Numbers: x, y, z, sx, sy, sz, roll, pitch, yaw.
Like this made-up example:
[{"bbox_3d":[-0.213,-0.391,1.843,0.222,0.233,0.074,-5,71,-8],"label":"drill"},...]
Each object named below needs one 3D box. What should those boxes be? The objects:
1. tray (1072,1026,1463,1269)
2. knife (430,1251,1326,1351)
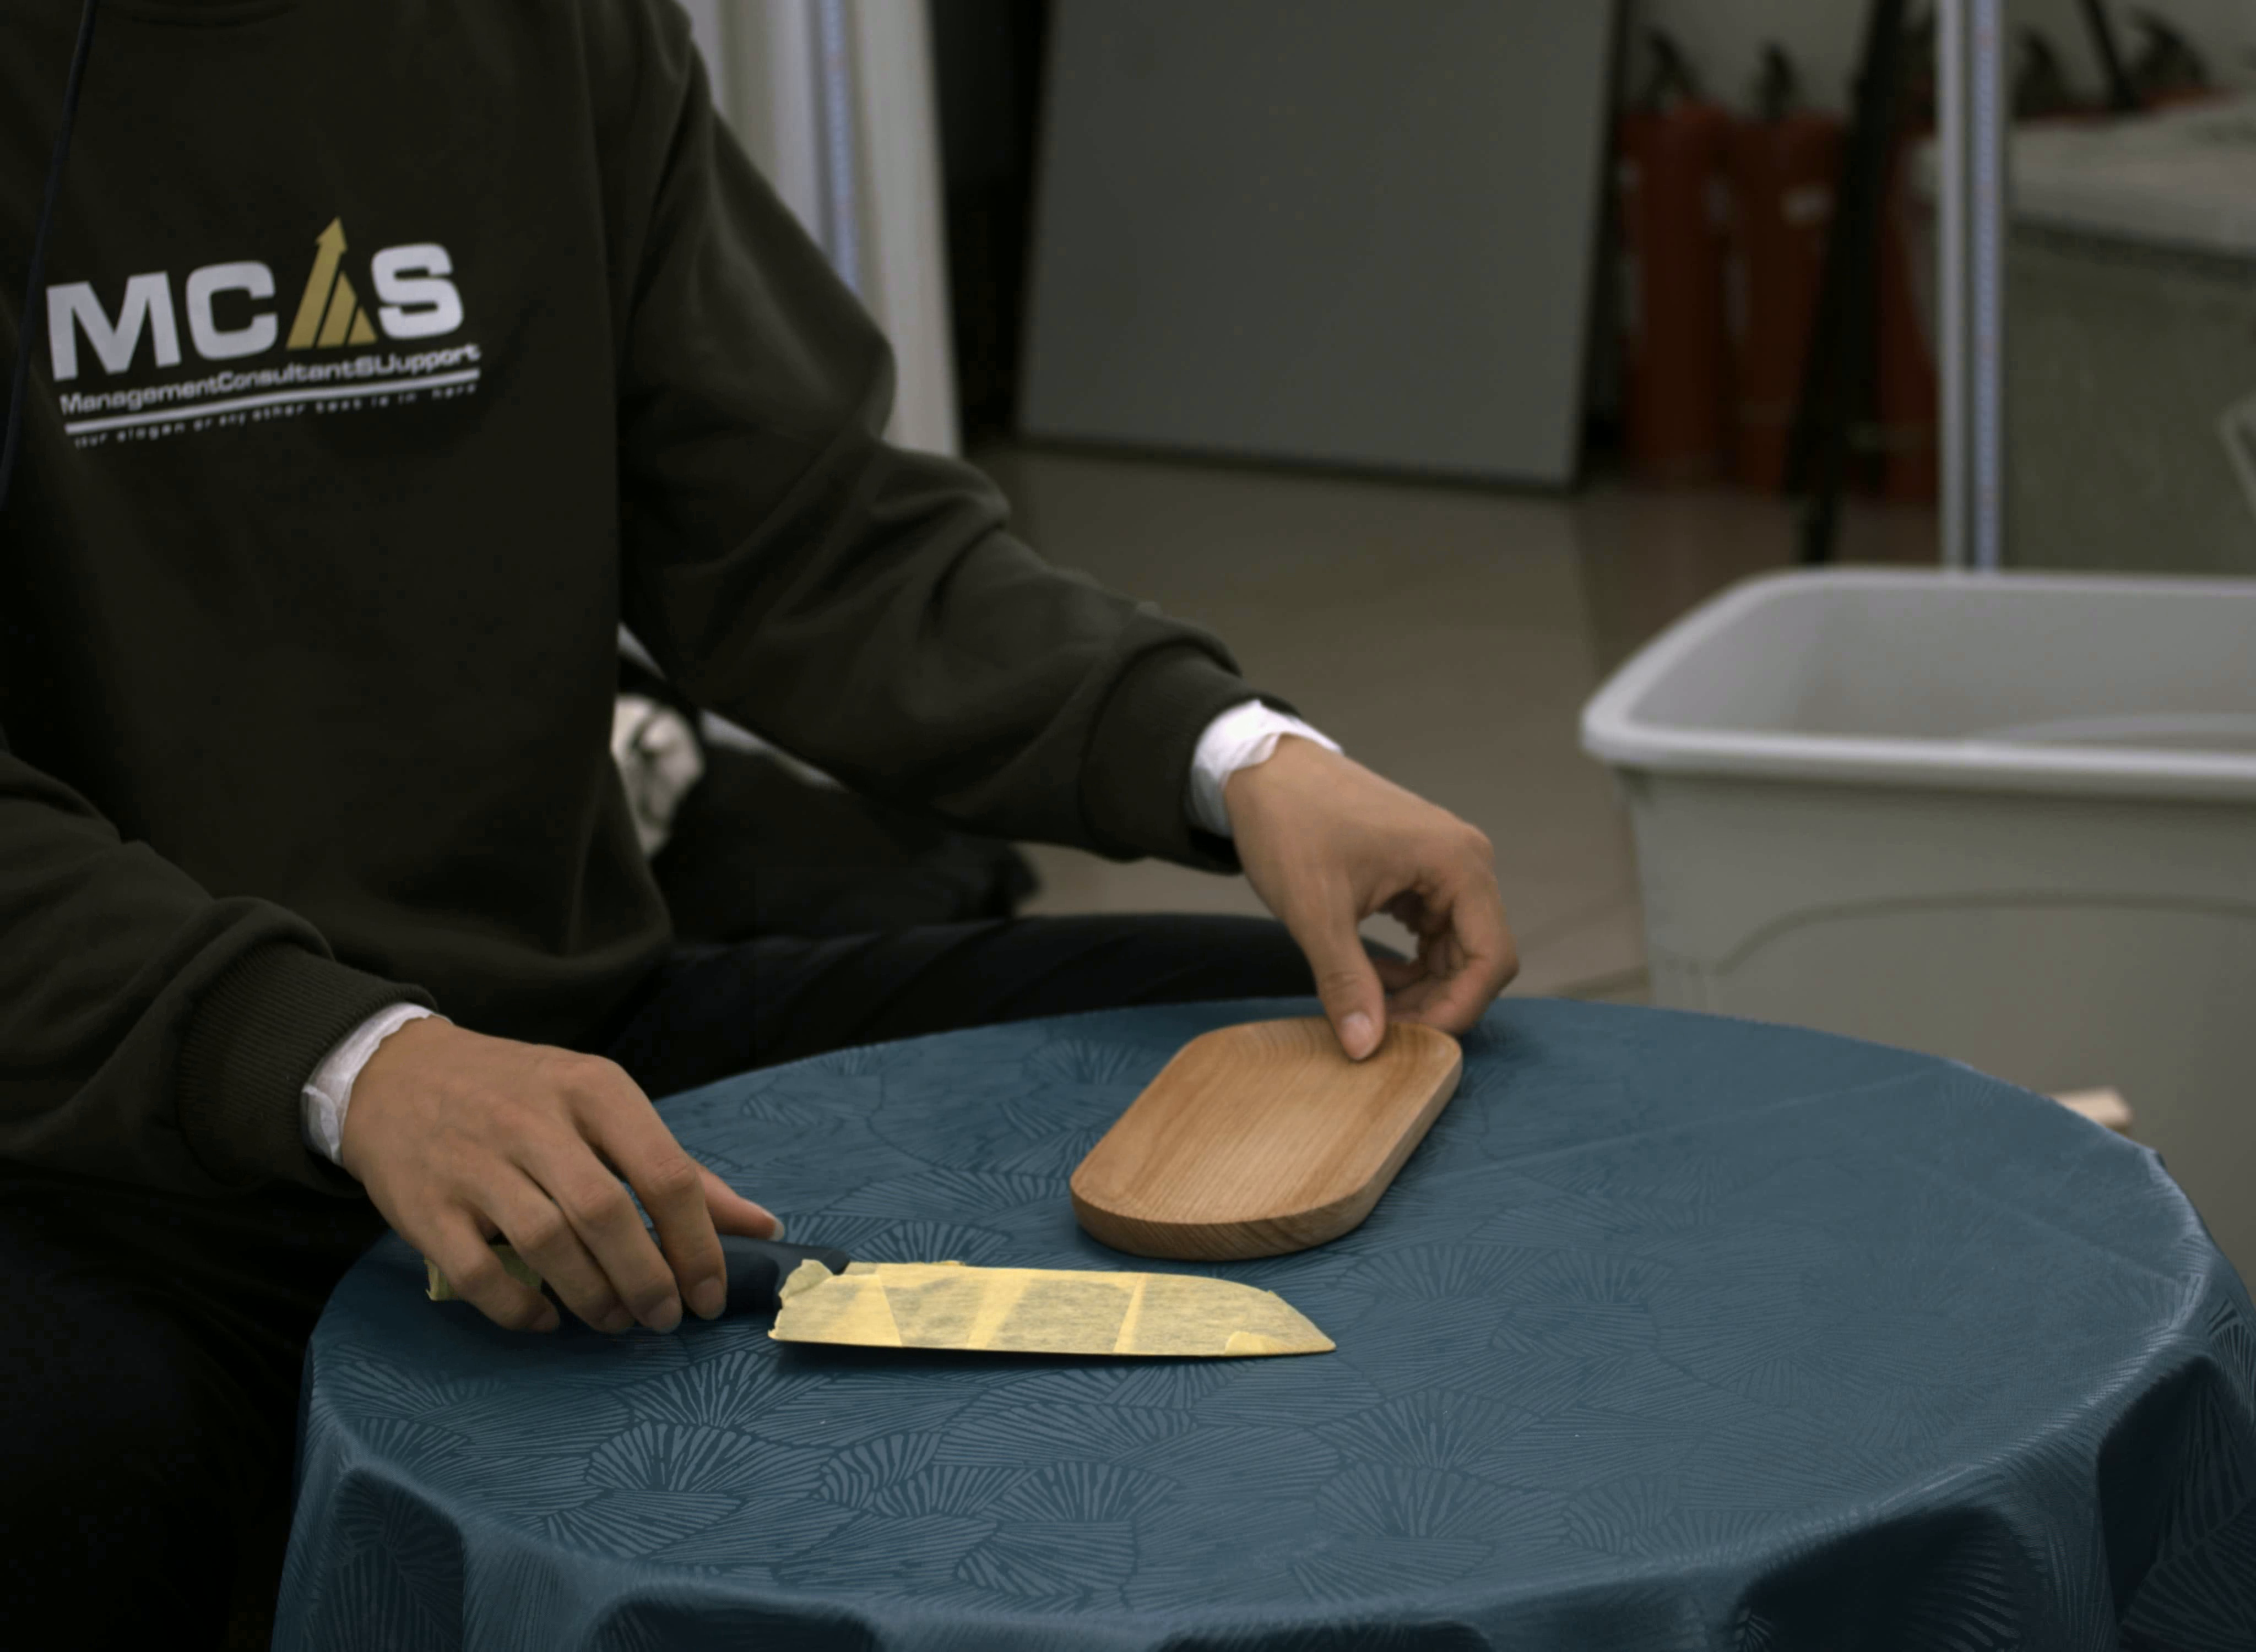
[{"bbox_3d":[0.049,0.105,1.795,0.101,0.020,0.229,-2,15,16],"label":"tray"},{"bbox_3d":[-0.079,0.149,1.654,0.287,0.027,0.080,0,11,12],"label":"knife"}]
